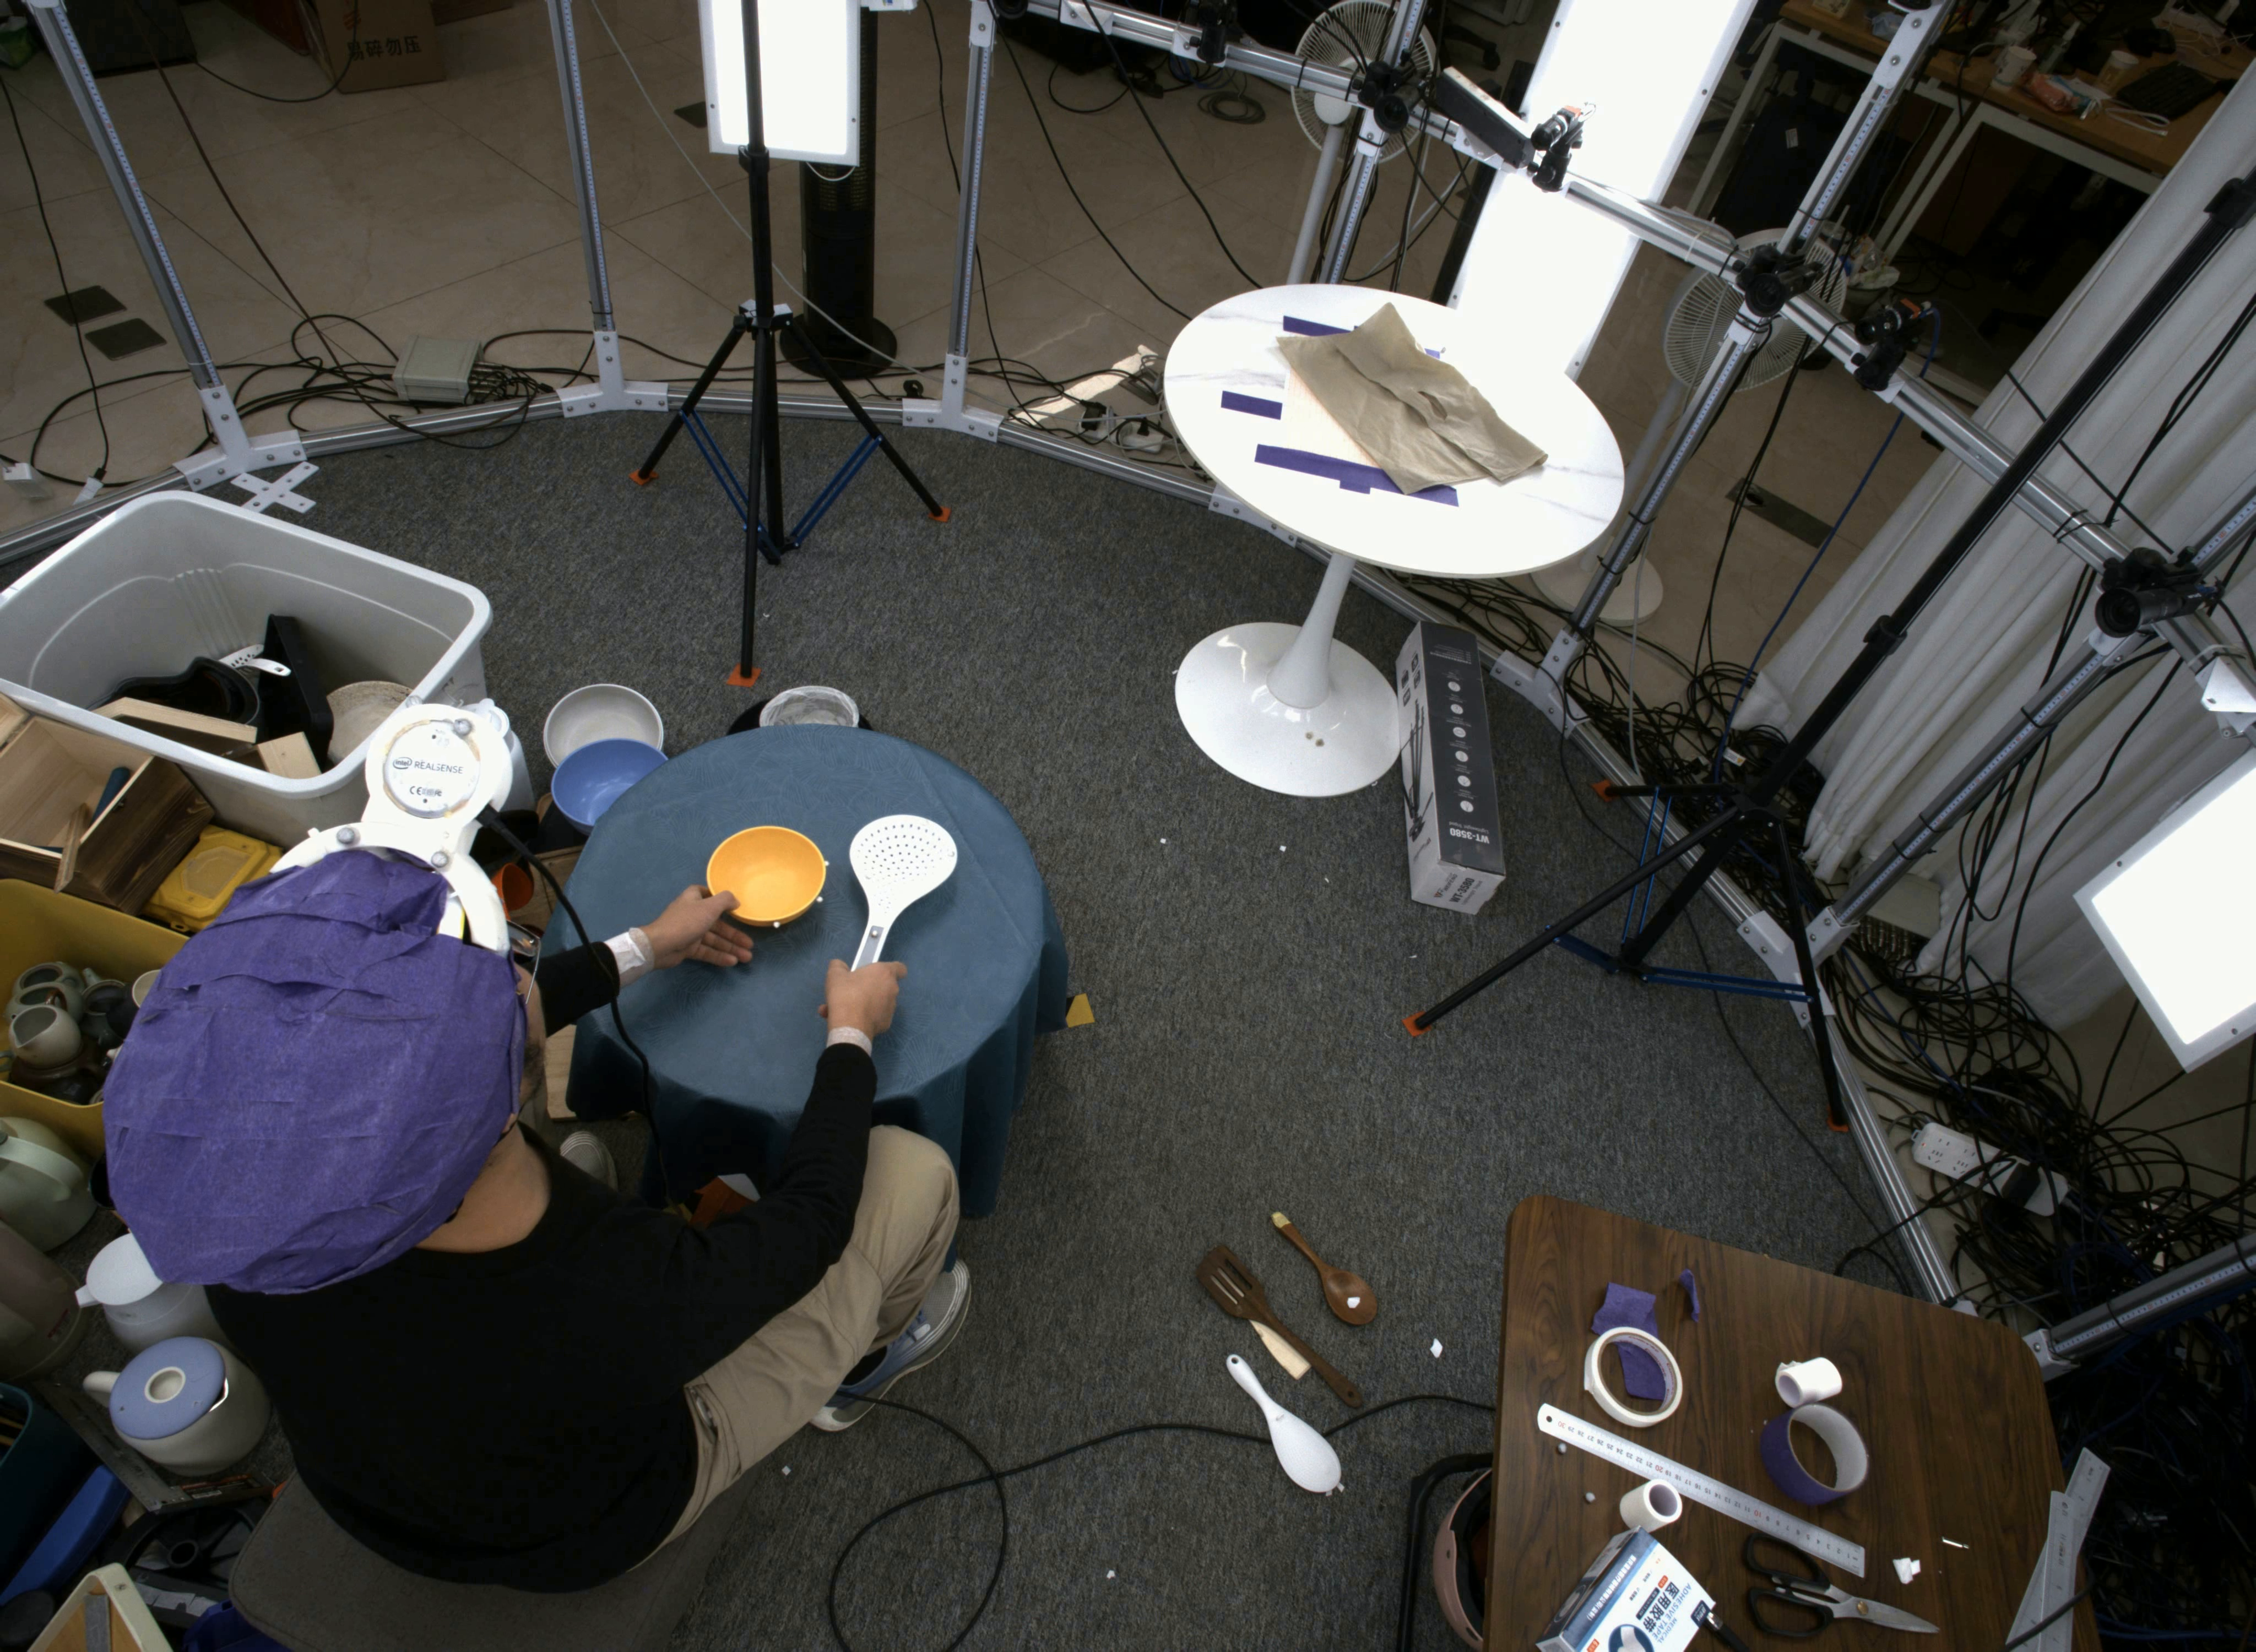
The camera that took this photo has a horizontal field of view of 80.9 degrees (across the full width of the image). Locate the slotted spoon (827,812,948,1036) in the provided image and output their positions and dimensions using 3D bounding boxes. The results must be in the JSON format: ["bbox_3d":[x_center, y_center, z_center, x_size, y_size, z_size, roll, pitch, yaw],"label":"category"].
[{"bbox_3d":[-0.312,0.112,1.609,0.135,0.047,0.343,10,42,-1],"label":"slotted spoon"}]

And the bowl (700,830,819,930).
[{"bbox_3d":[-0.458,0.076,1.617,0.145,0.061,0.142,7,50,-7],"label":"bowl"}]
